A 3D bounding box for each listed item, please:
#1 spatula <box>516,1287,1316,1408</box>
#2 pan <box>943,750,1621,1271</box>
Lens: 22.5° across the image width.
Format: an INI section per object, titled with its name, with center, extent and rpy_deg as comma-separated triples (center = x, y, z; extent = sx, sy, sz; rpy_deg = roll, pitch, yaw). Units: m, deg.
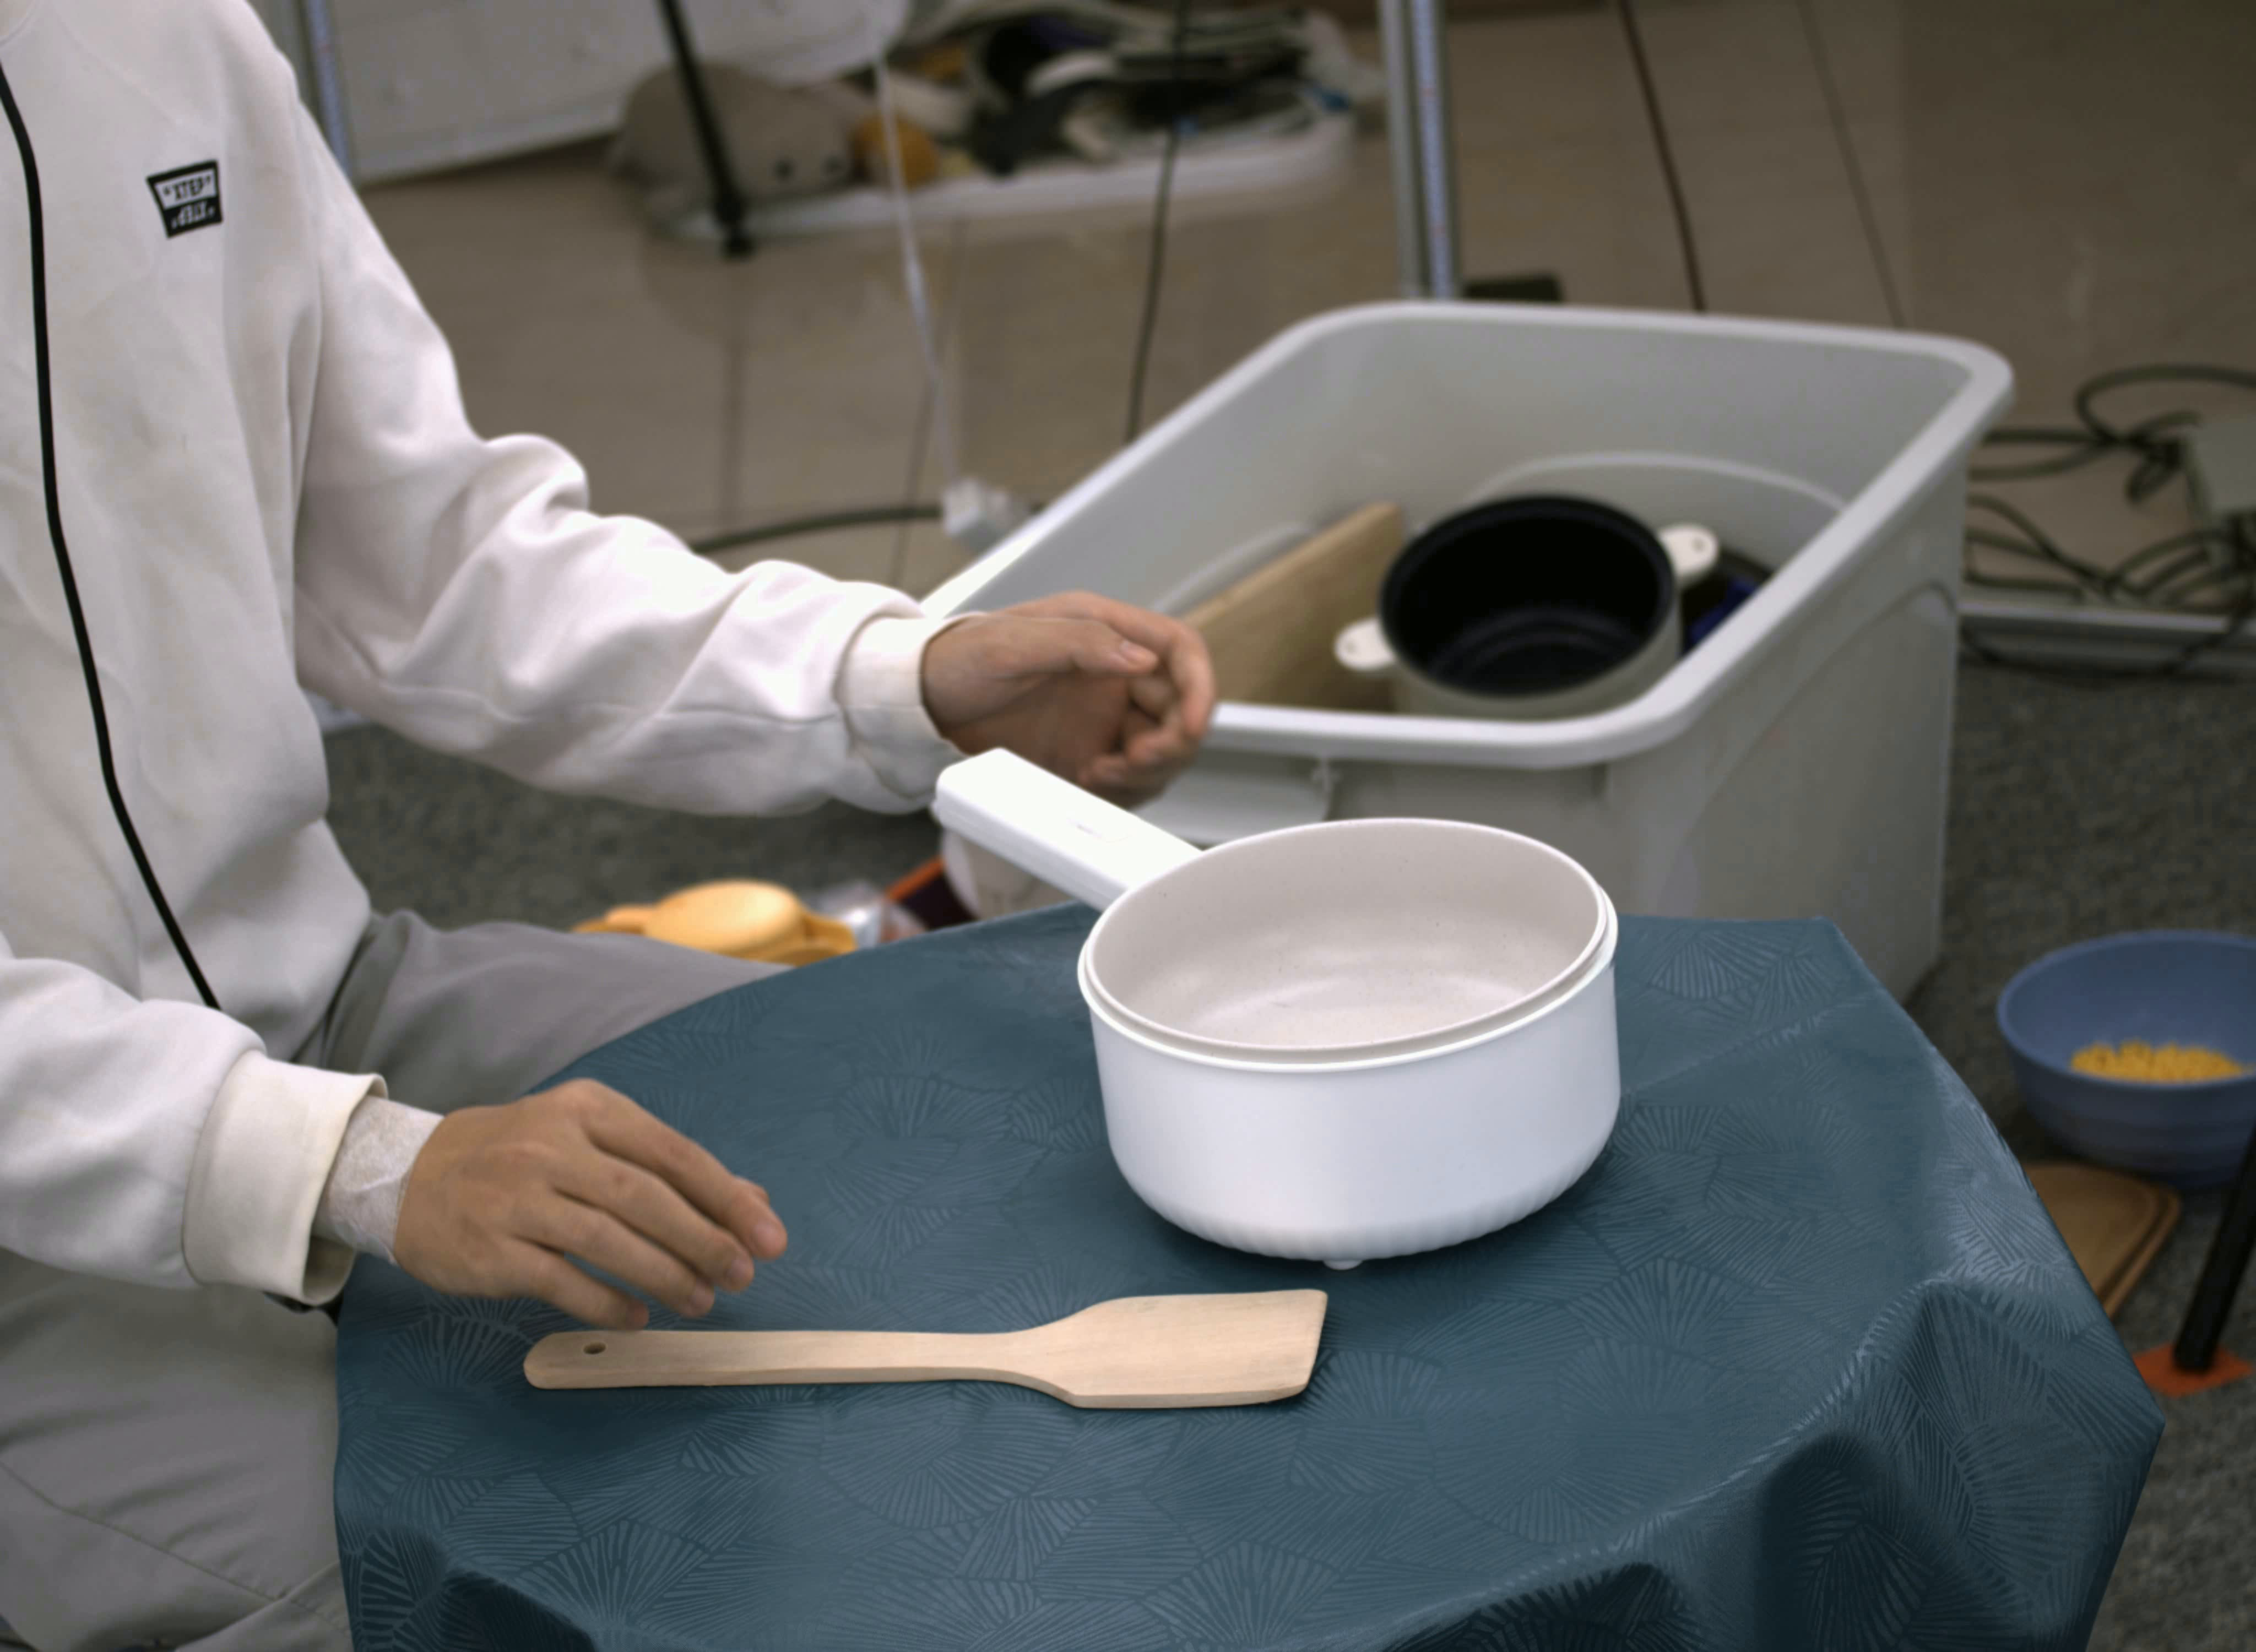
[spatula]
center = -0.079, 0.190, 2.045
extent = 0.292, 0.011, 0.071
rpy_deg = -2, 27, 10
[pan]
center = 0.042, 0.064, 2.183
extent = 0.200, 0.104, 0.351
rpy_deg = -23, 28, -29
